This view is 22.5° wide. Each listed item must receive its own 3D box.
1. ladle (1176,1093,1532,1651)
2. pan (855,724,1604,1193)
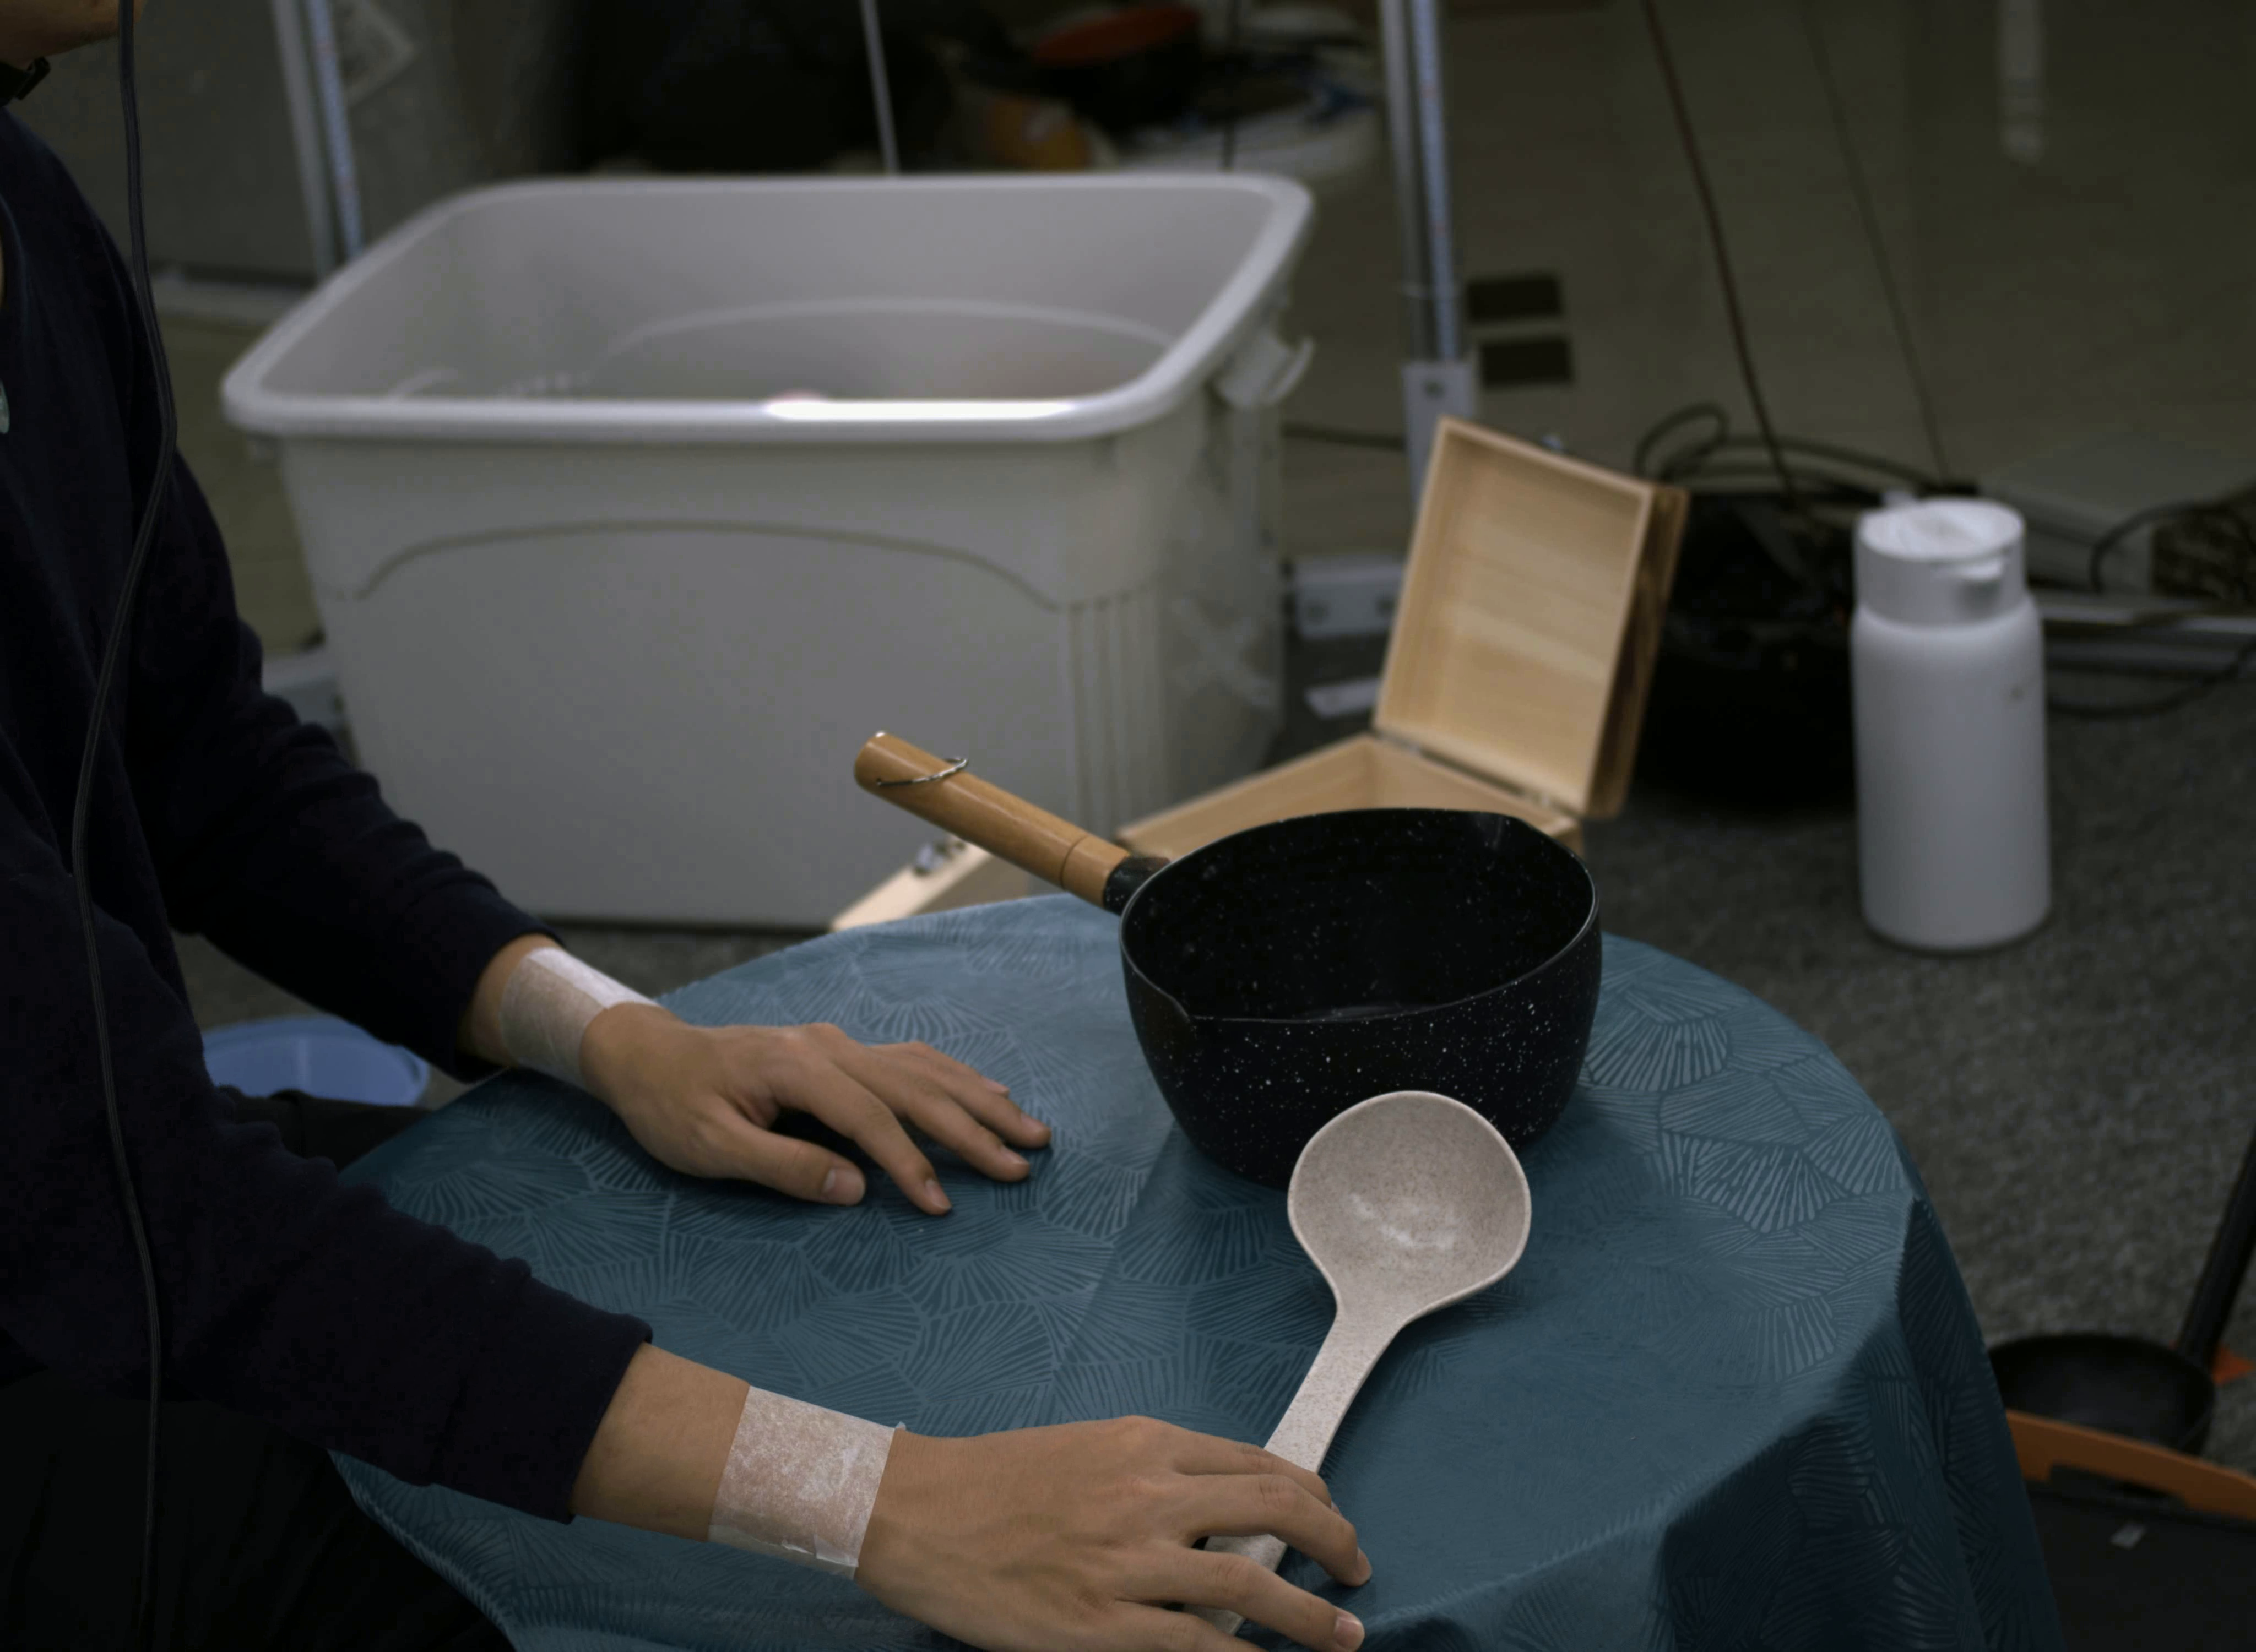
[{"bbox_3d":[0.068,0.183,1.953,0.089,0.070,0.271,17,30,12],"label":"ladle"},{"bbox_3d":[0.028,0.044,2.213,0.340,0.110,0.205,15,34,35],"label":"pan"}]
